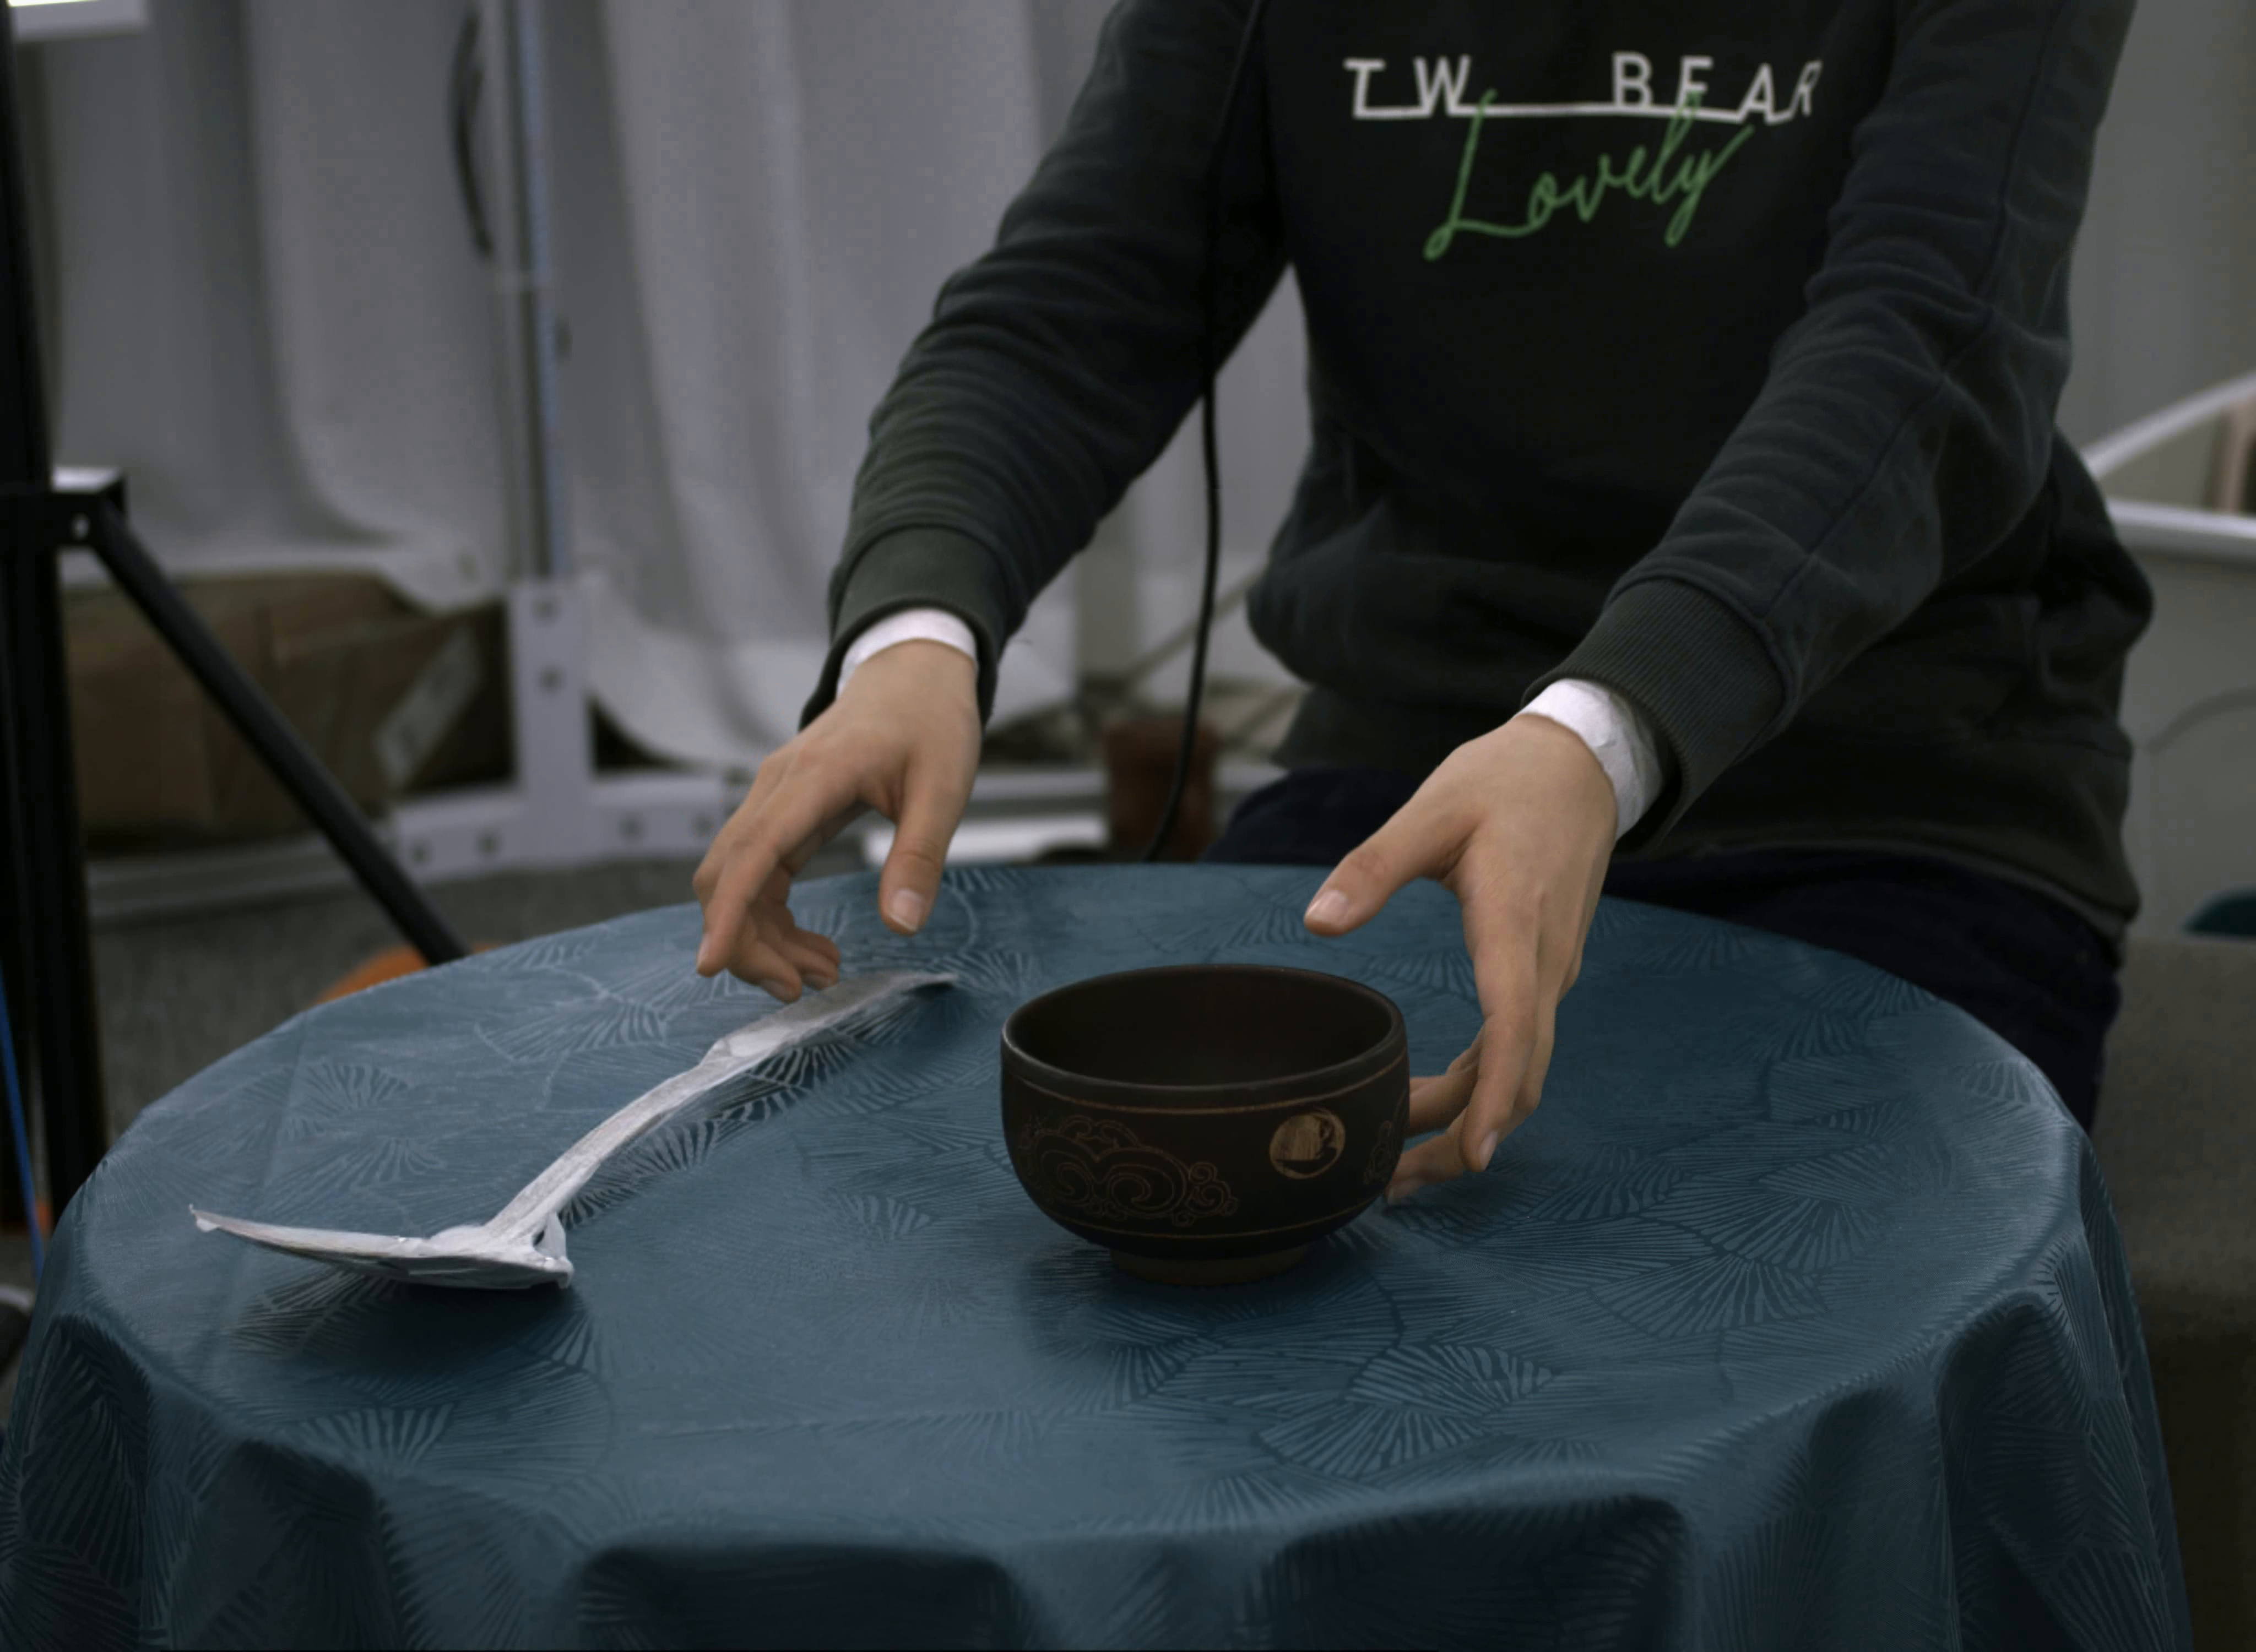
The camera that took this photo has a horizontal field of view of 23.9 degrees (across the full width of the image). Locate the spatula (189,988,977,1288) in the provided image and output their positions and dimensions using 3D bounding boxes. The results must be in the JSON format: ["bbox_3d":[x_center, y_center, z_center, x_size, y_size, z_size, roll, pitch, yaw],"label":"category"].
[{"bbox_3d":[-0.142,0.083,1.598,0.100,0.045,0.359,3,17,27],"label":"spatula"}]

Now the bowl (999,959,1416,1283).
[{"bbox_3d":[0.023,0.087,1.498,0.117,0.070,0.118,-1,16,-1],"label":"bowl"}]
